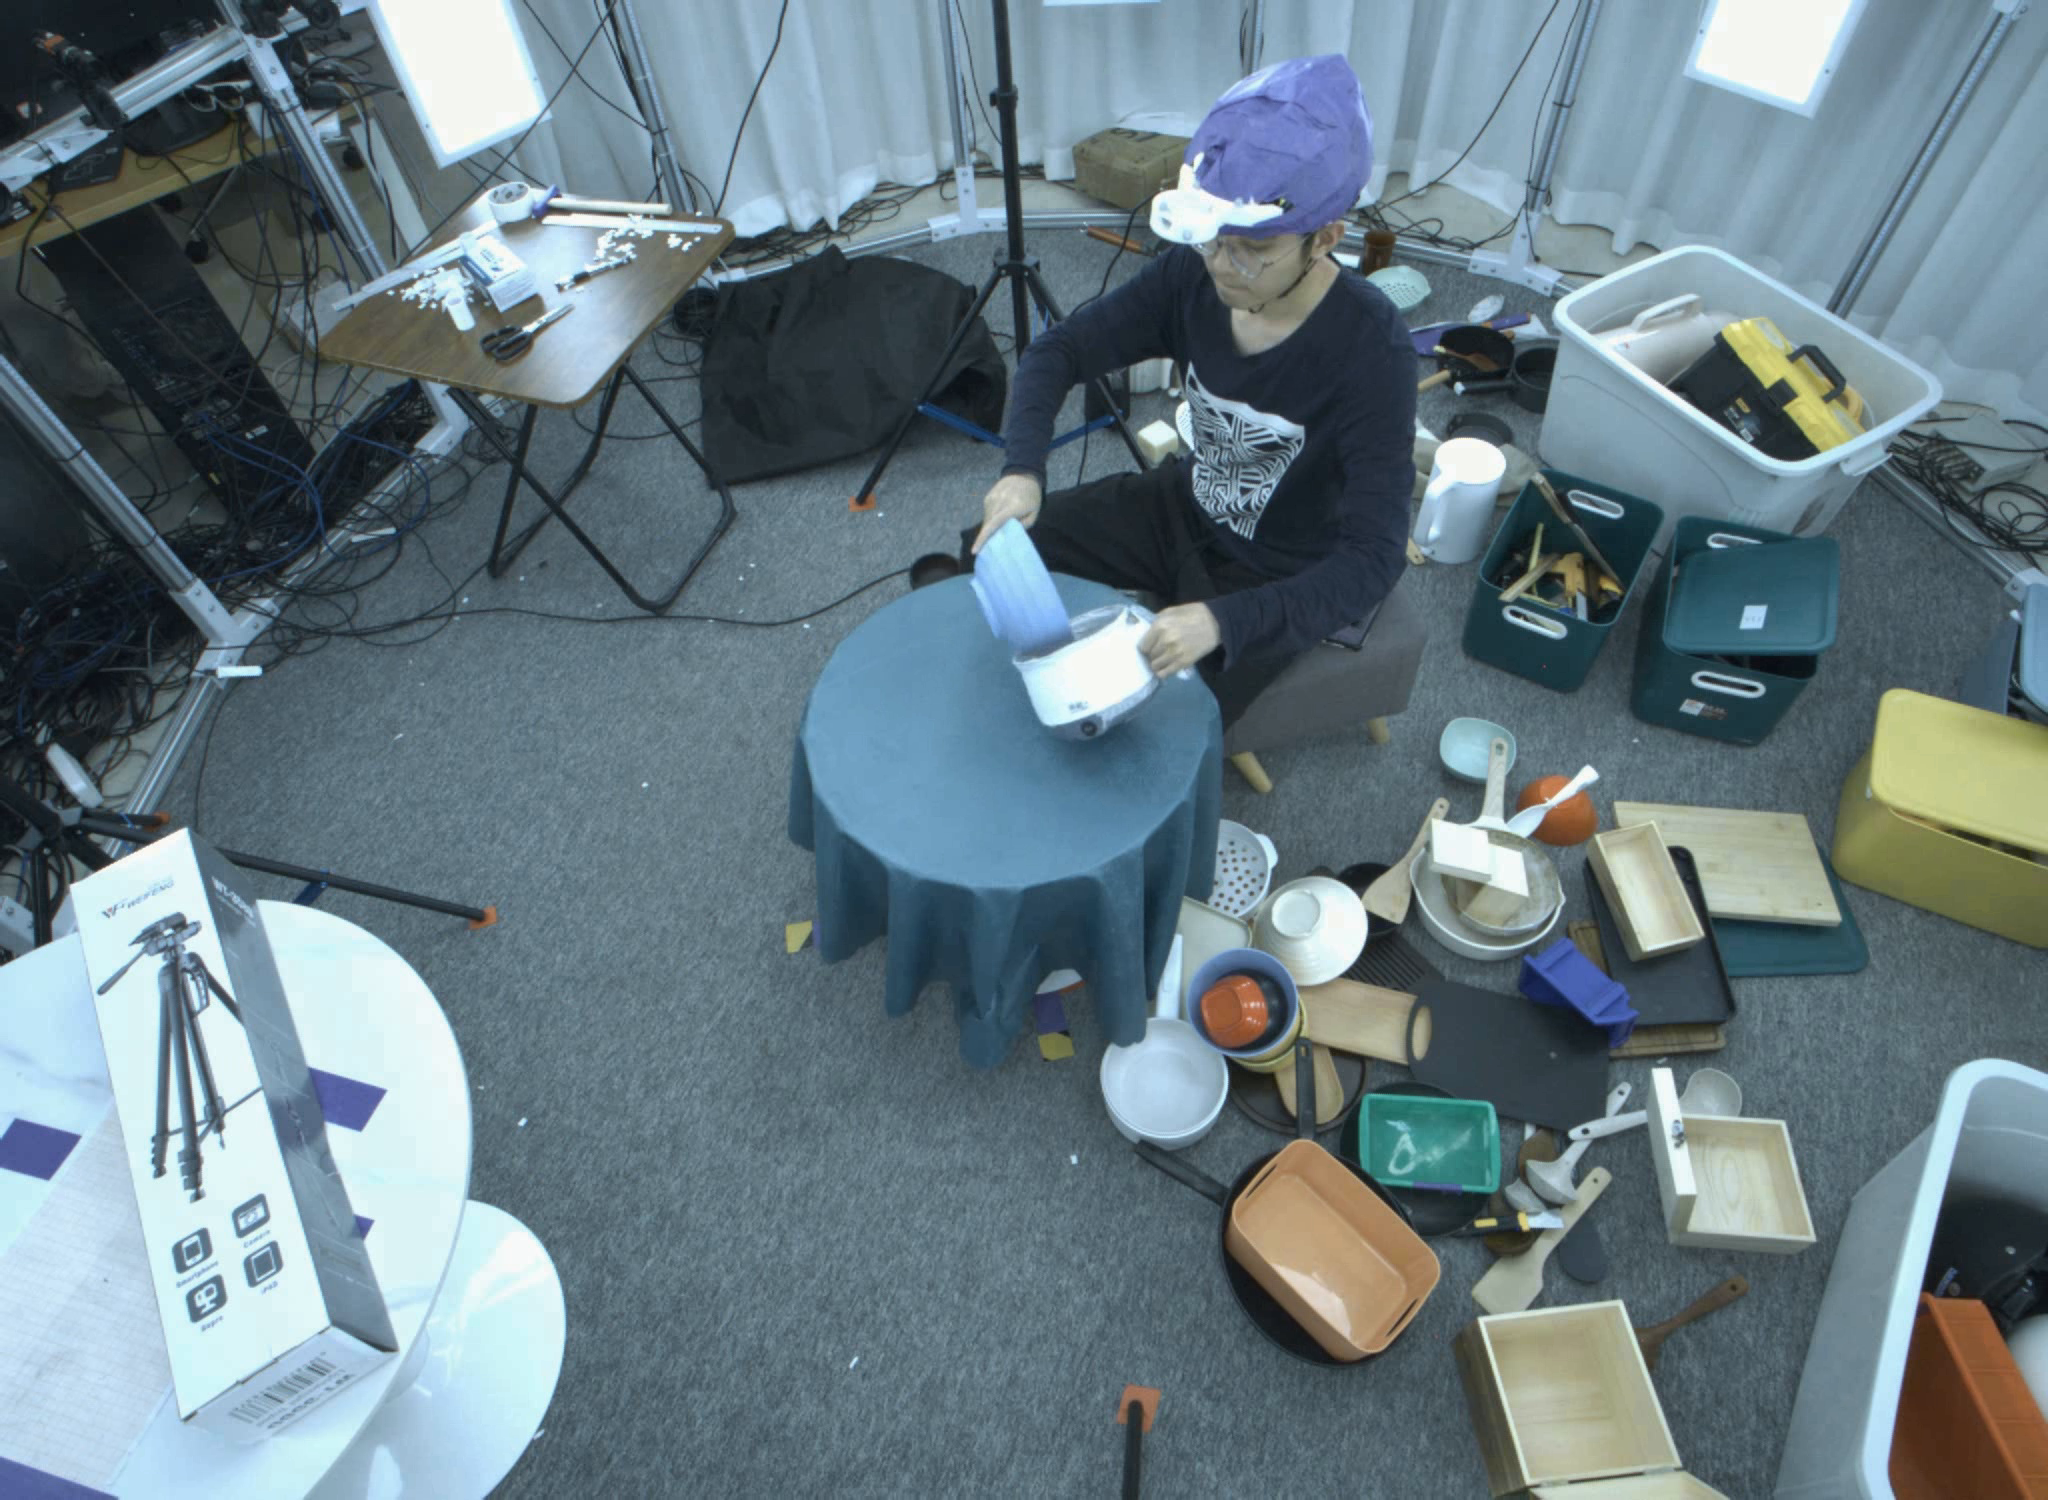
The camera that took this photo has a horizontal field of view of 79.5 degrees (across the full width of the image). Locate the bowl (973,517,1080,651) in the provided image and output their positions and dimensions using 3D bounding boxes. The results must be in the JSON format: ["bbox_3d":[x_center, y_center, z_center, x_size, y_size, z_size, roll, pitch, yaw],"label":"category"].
[{"bbox_3d":[-0.009,-0.215,1.707,0.095,0.200,0.193,-28,57,3],"label":"bowl"}]

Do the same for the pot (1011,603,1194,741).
[{"bbox_3d":[0.113,-0.116,1.719,0.231,0.138,0.178,-21,19,21],"label":"pot"}]
